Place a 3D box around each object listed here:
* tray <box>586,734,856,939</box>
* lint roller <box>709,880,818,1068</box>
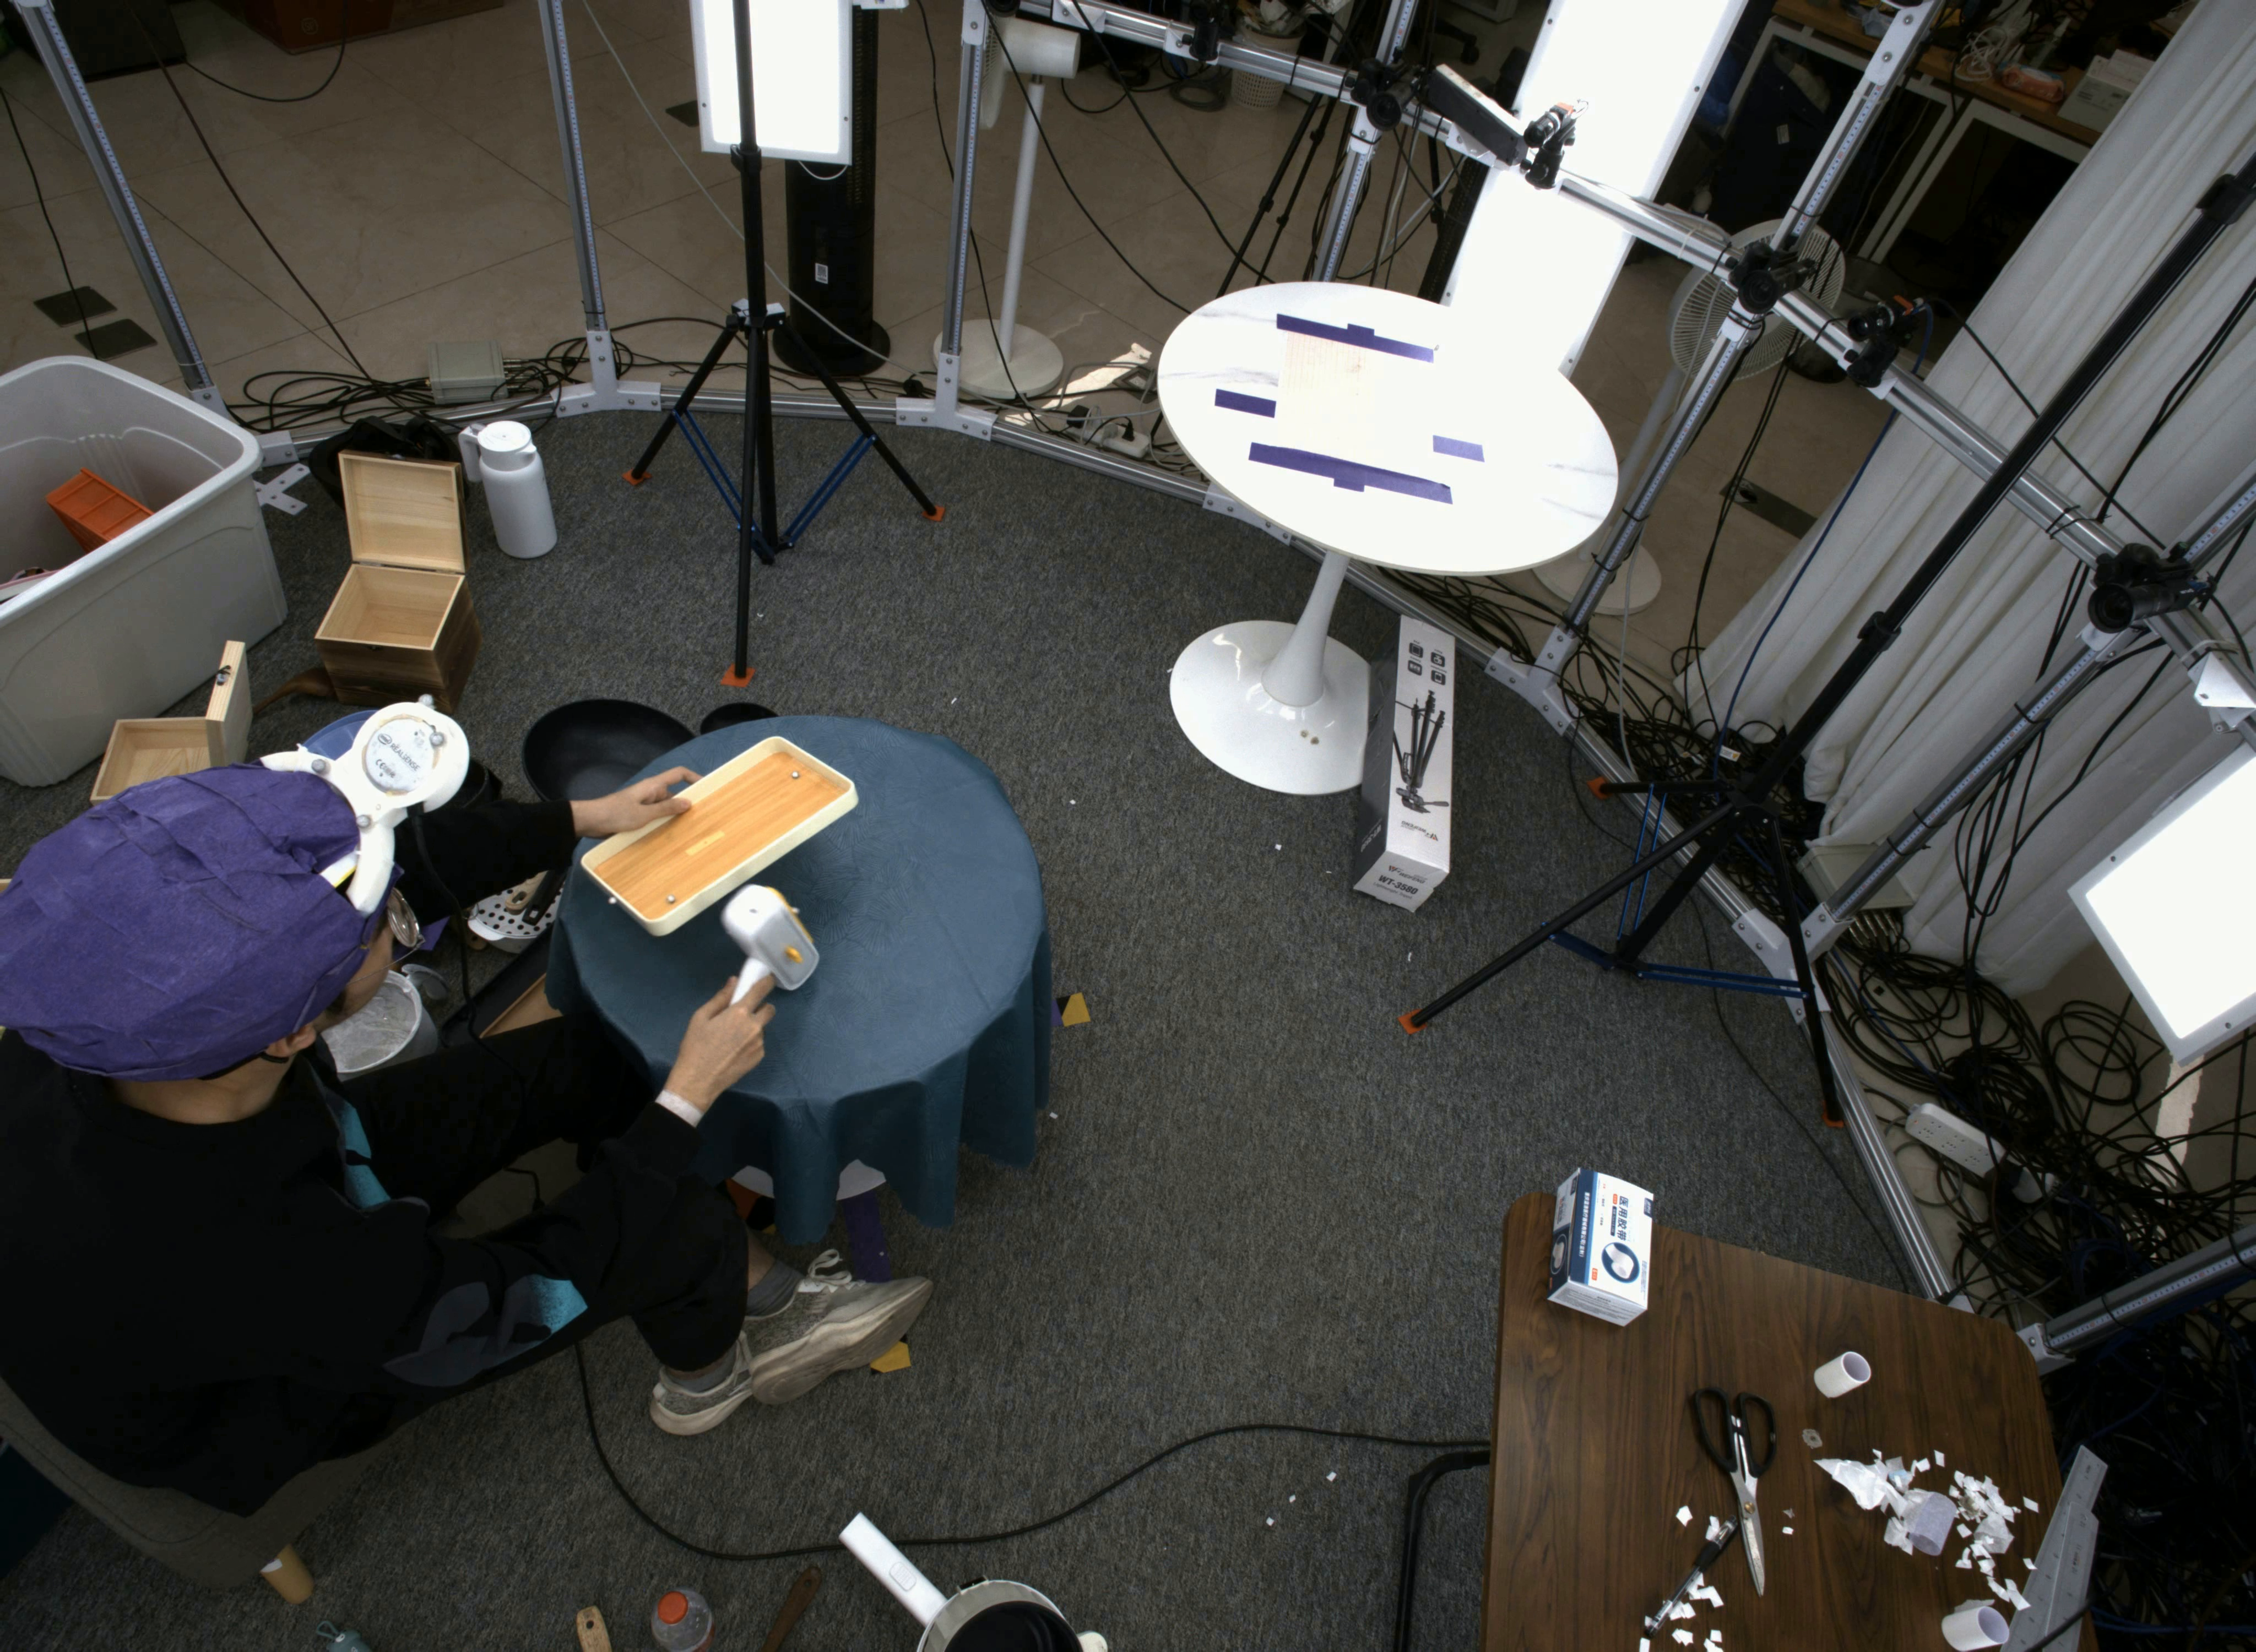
[{"bbox_3d":[-0.495,0.004,1.563,0.184,0.028,0.300,30,55,36],"label":"tray"},{"bbox_3d":[-0.437,0.177,1.482,0.072,0.197,0.192,22,72,13],"label":"lint roller"}]
